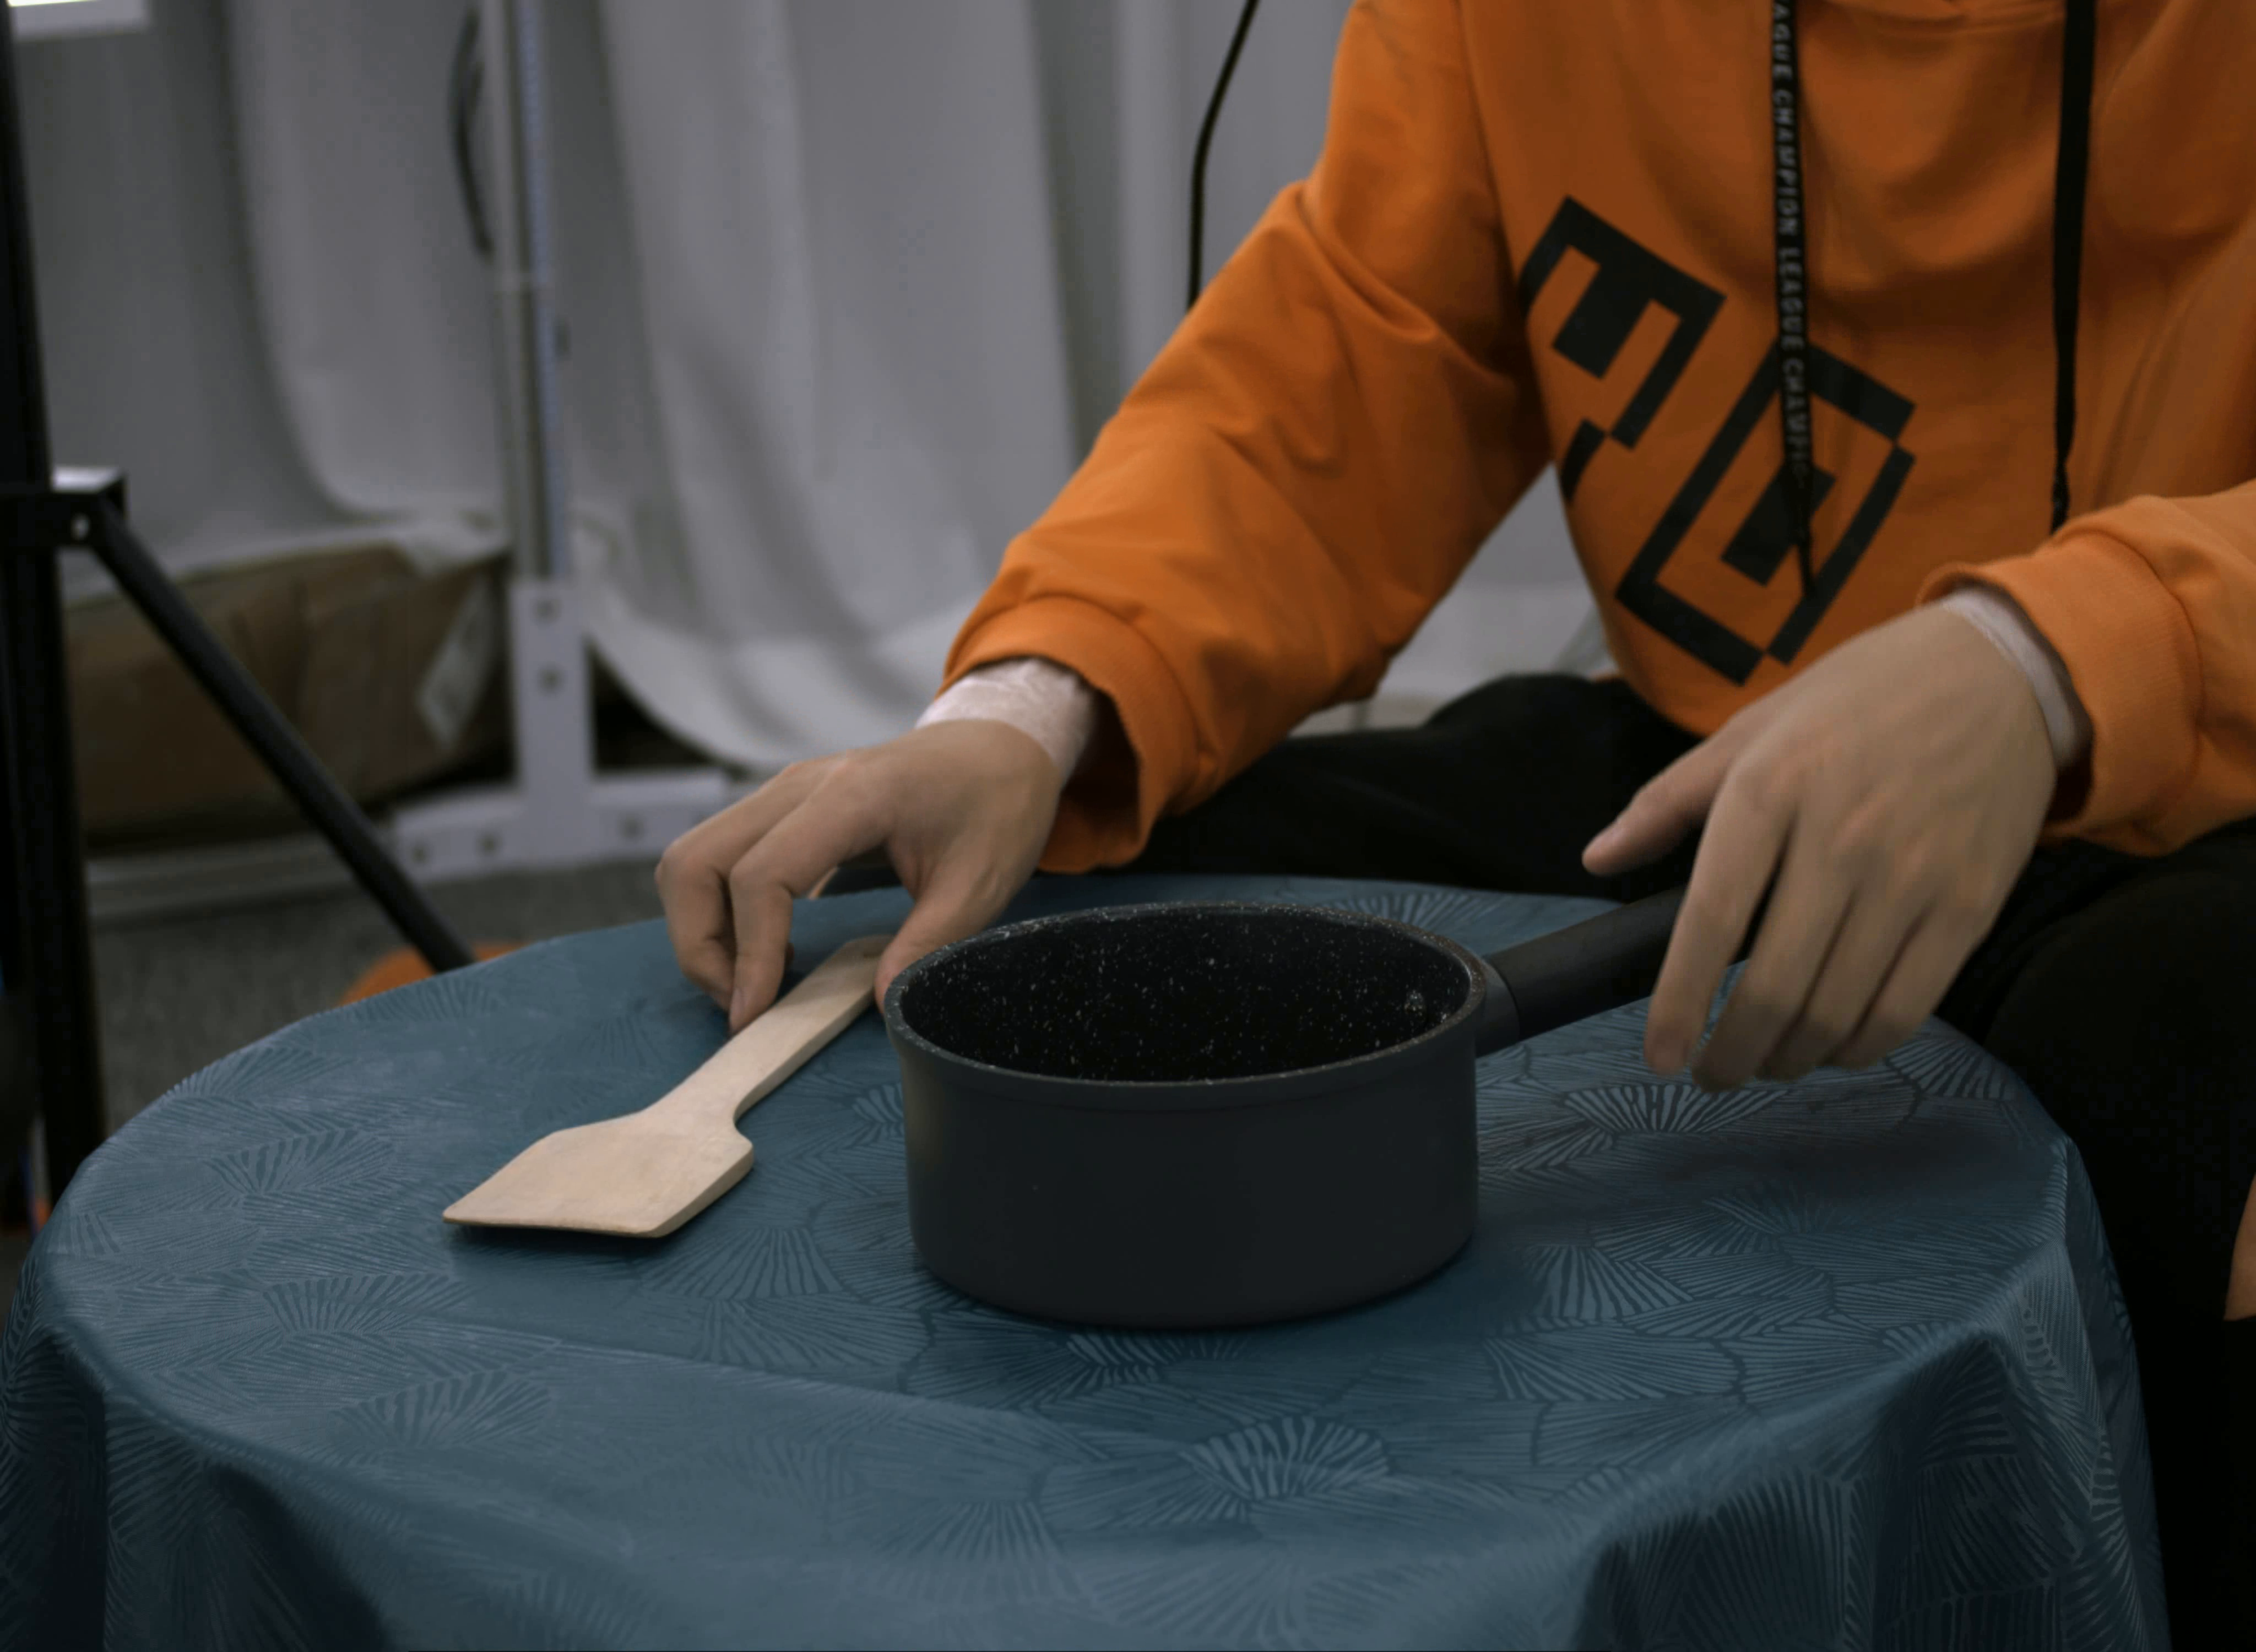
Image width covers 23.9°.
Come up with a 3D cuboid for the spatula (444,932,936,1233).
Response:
[{"bbox_3d":[-0.123,0.078,1.667,0.073,0.010,0.290,-1,16,20],"label":"spatula"}]

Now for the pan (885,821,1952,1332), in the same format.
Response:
[{"bbox_3d":[0.090,0.067,1.533,0.323,0.086,0.175,-10,18,-19],"label":"pan"}]
